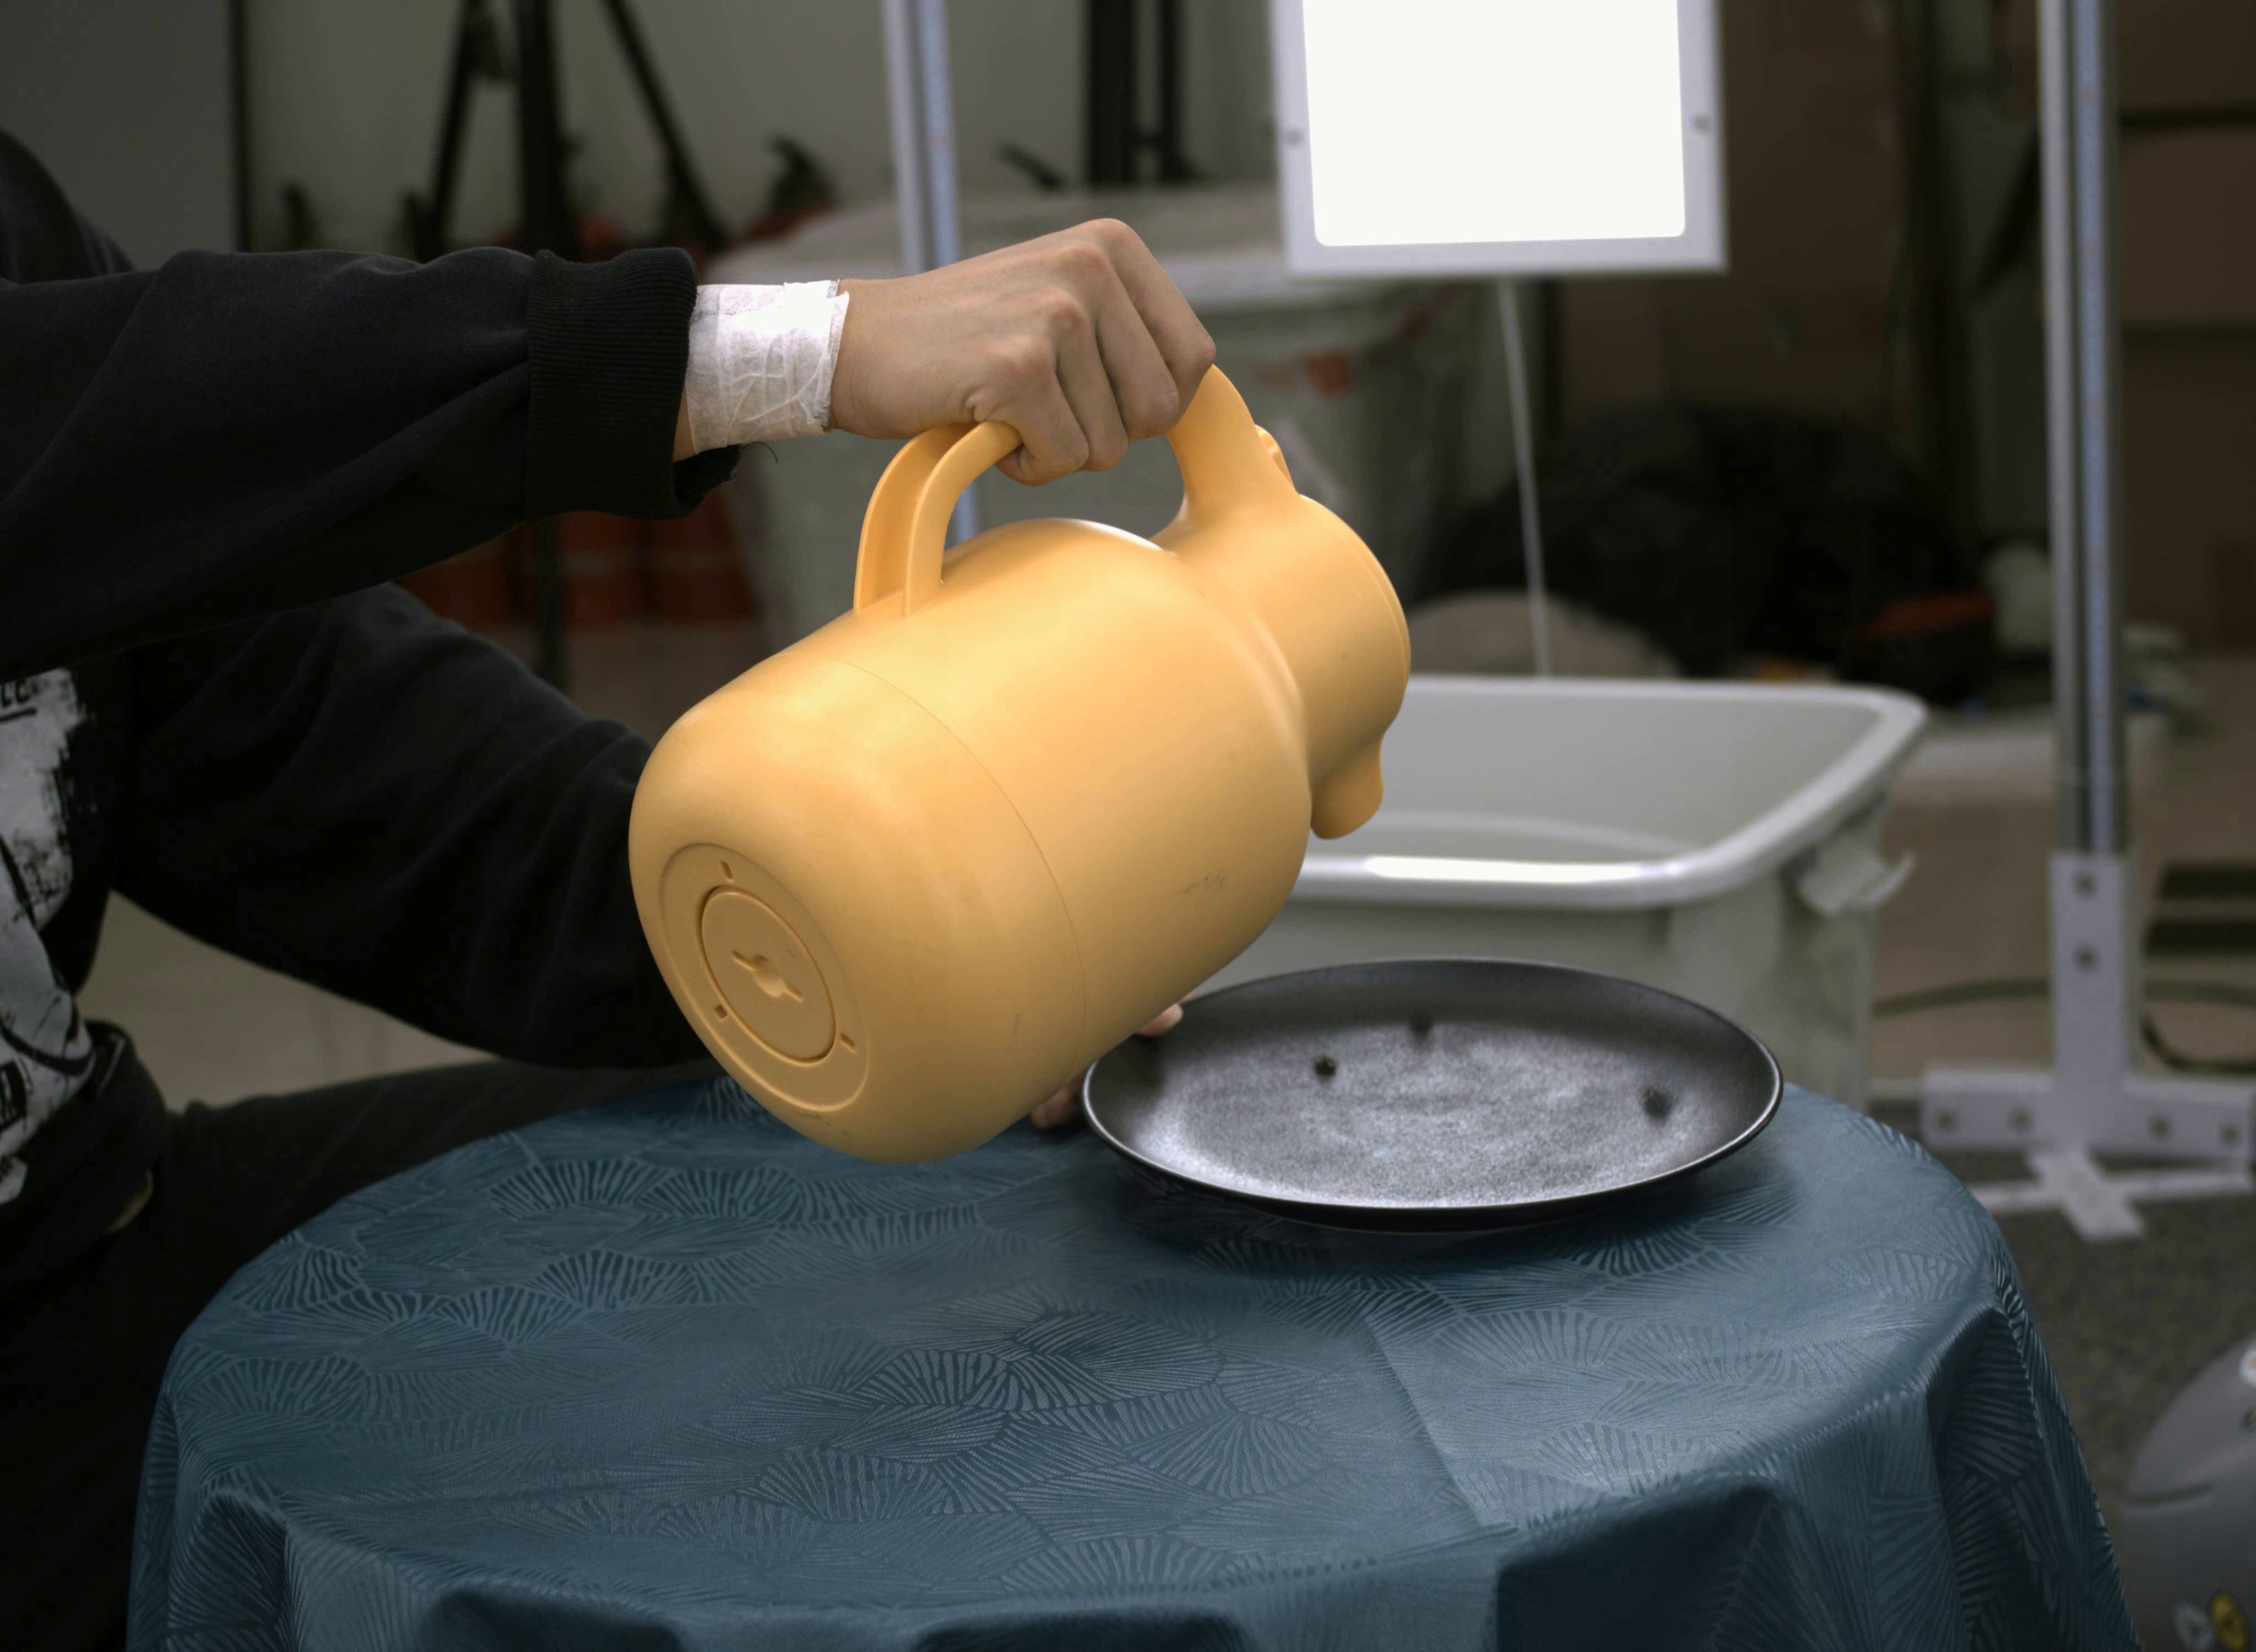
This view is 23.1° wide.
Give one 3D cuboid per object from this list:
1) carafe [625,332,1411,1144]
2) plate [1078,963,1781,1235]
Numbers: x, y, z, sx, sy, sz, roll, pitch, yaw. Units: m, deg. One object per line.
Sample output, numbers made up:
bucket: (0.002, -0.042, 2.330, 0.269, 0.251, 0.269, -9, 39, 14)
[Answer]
carafe: (-0.031, -0.036, 1.745, 0.254, 0.202, 0.167, -32, 20, -35)
plate: (0.104, 0.097, 1.900, 0.243, 0.023, 0.244, -3, 18, 0)
